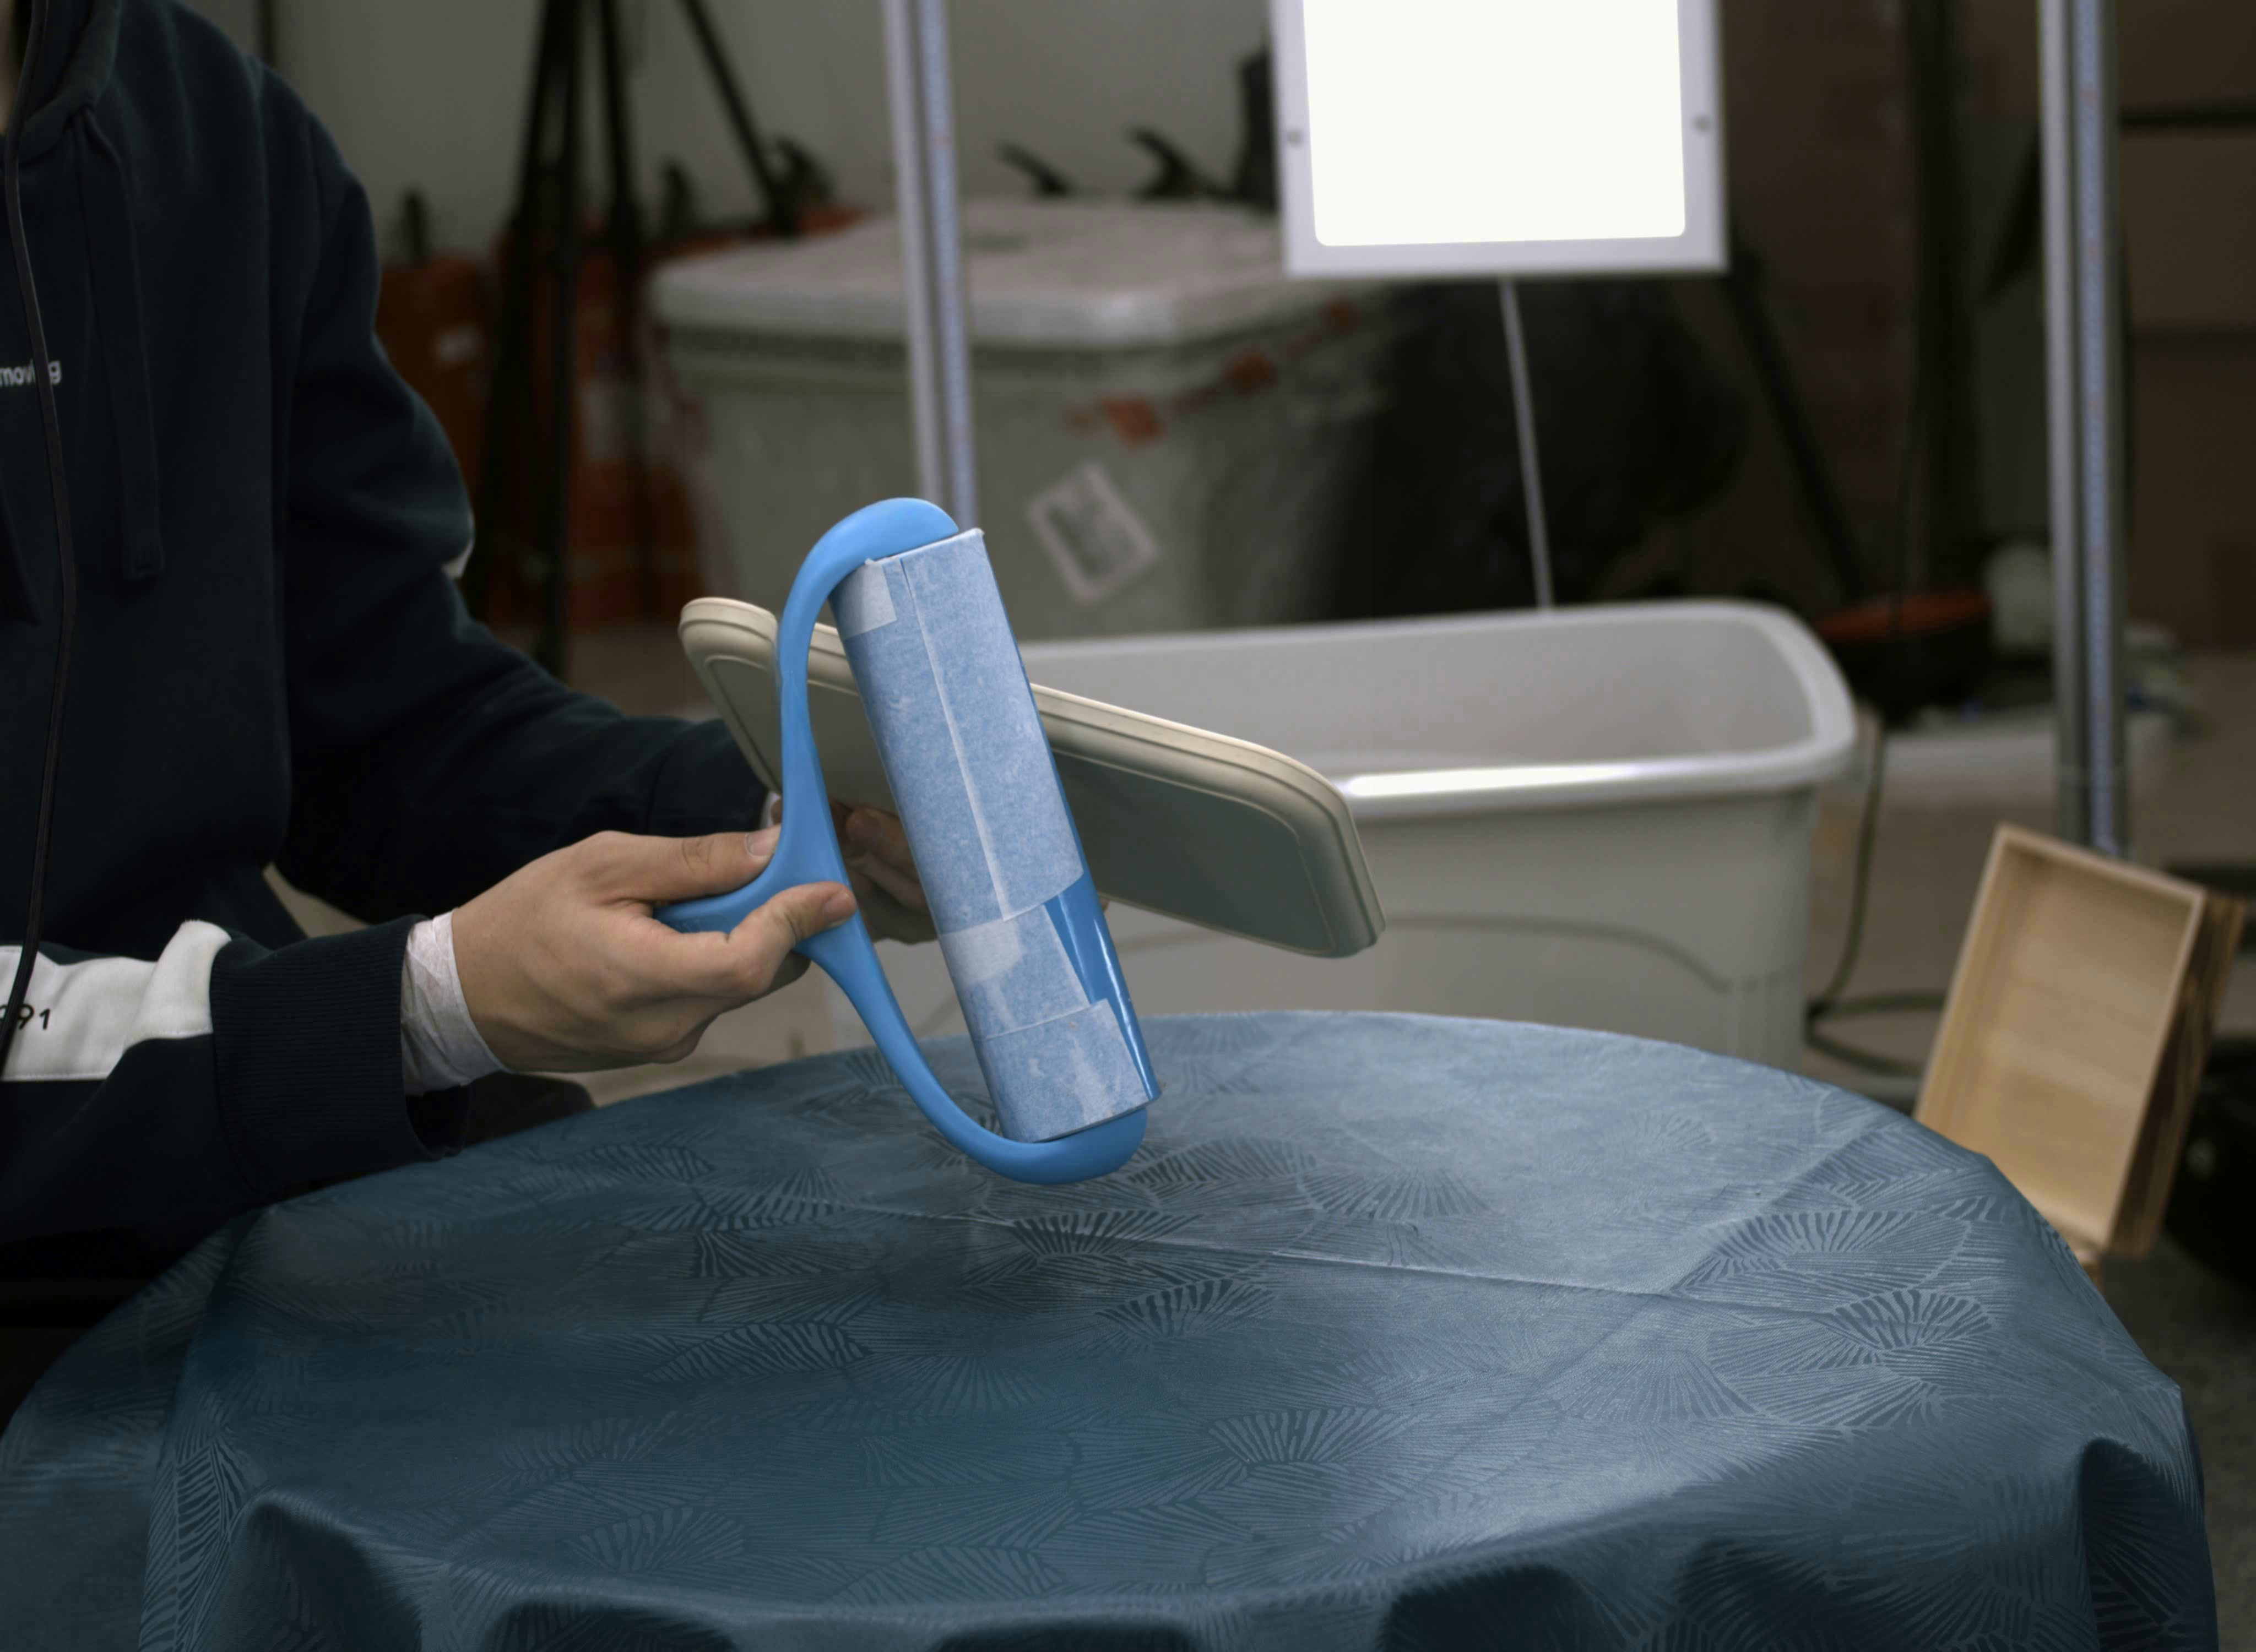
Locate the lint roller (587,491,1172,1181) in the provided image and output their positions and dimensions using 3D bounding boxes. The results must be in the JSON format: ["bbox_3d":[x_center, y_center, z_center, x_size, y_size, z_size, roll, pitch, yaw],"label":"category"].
[{"bbox_3d":[-0.097,0.024,1.777,0.181,0.229,0.067,-21,2,12],"label":"lint roller"}]

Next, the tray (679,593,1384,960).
[{"bbox_3d":[-0.033,-0.013,1.864,0.242,0.017,0.170,16,-18,17],"label":"tray"}]
